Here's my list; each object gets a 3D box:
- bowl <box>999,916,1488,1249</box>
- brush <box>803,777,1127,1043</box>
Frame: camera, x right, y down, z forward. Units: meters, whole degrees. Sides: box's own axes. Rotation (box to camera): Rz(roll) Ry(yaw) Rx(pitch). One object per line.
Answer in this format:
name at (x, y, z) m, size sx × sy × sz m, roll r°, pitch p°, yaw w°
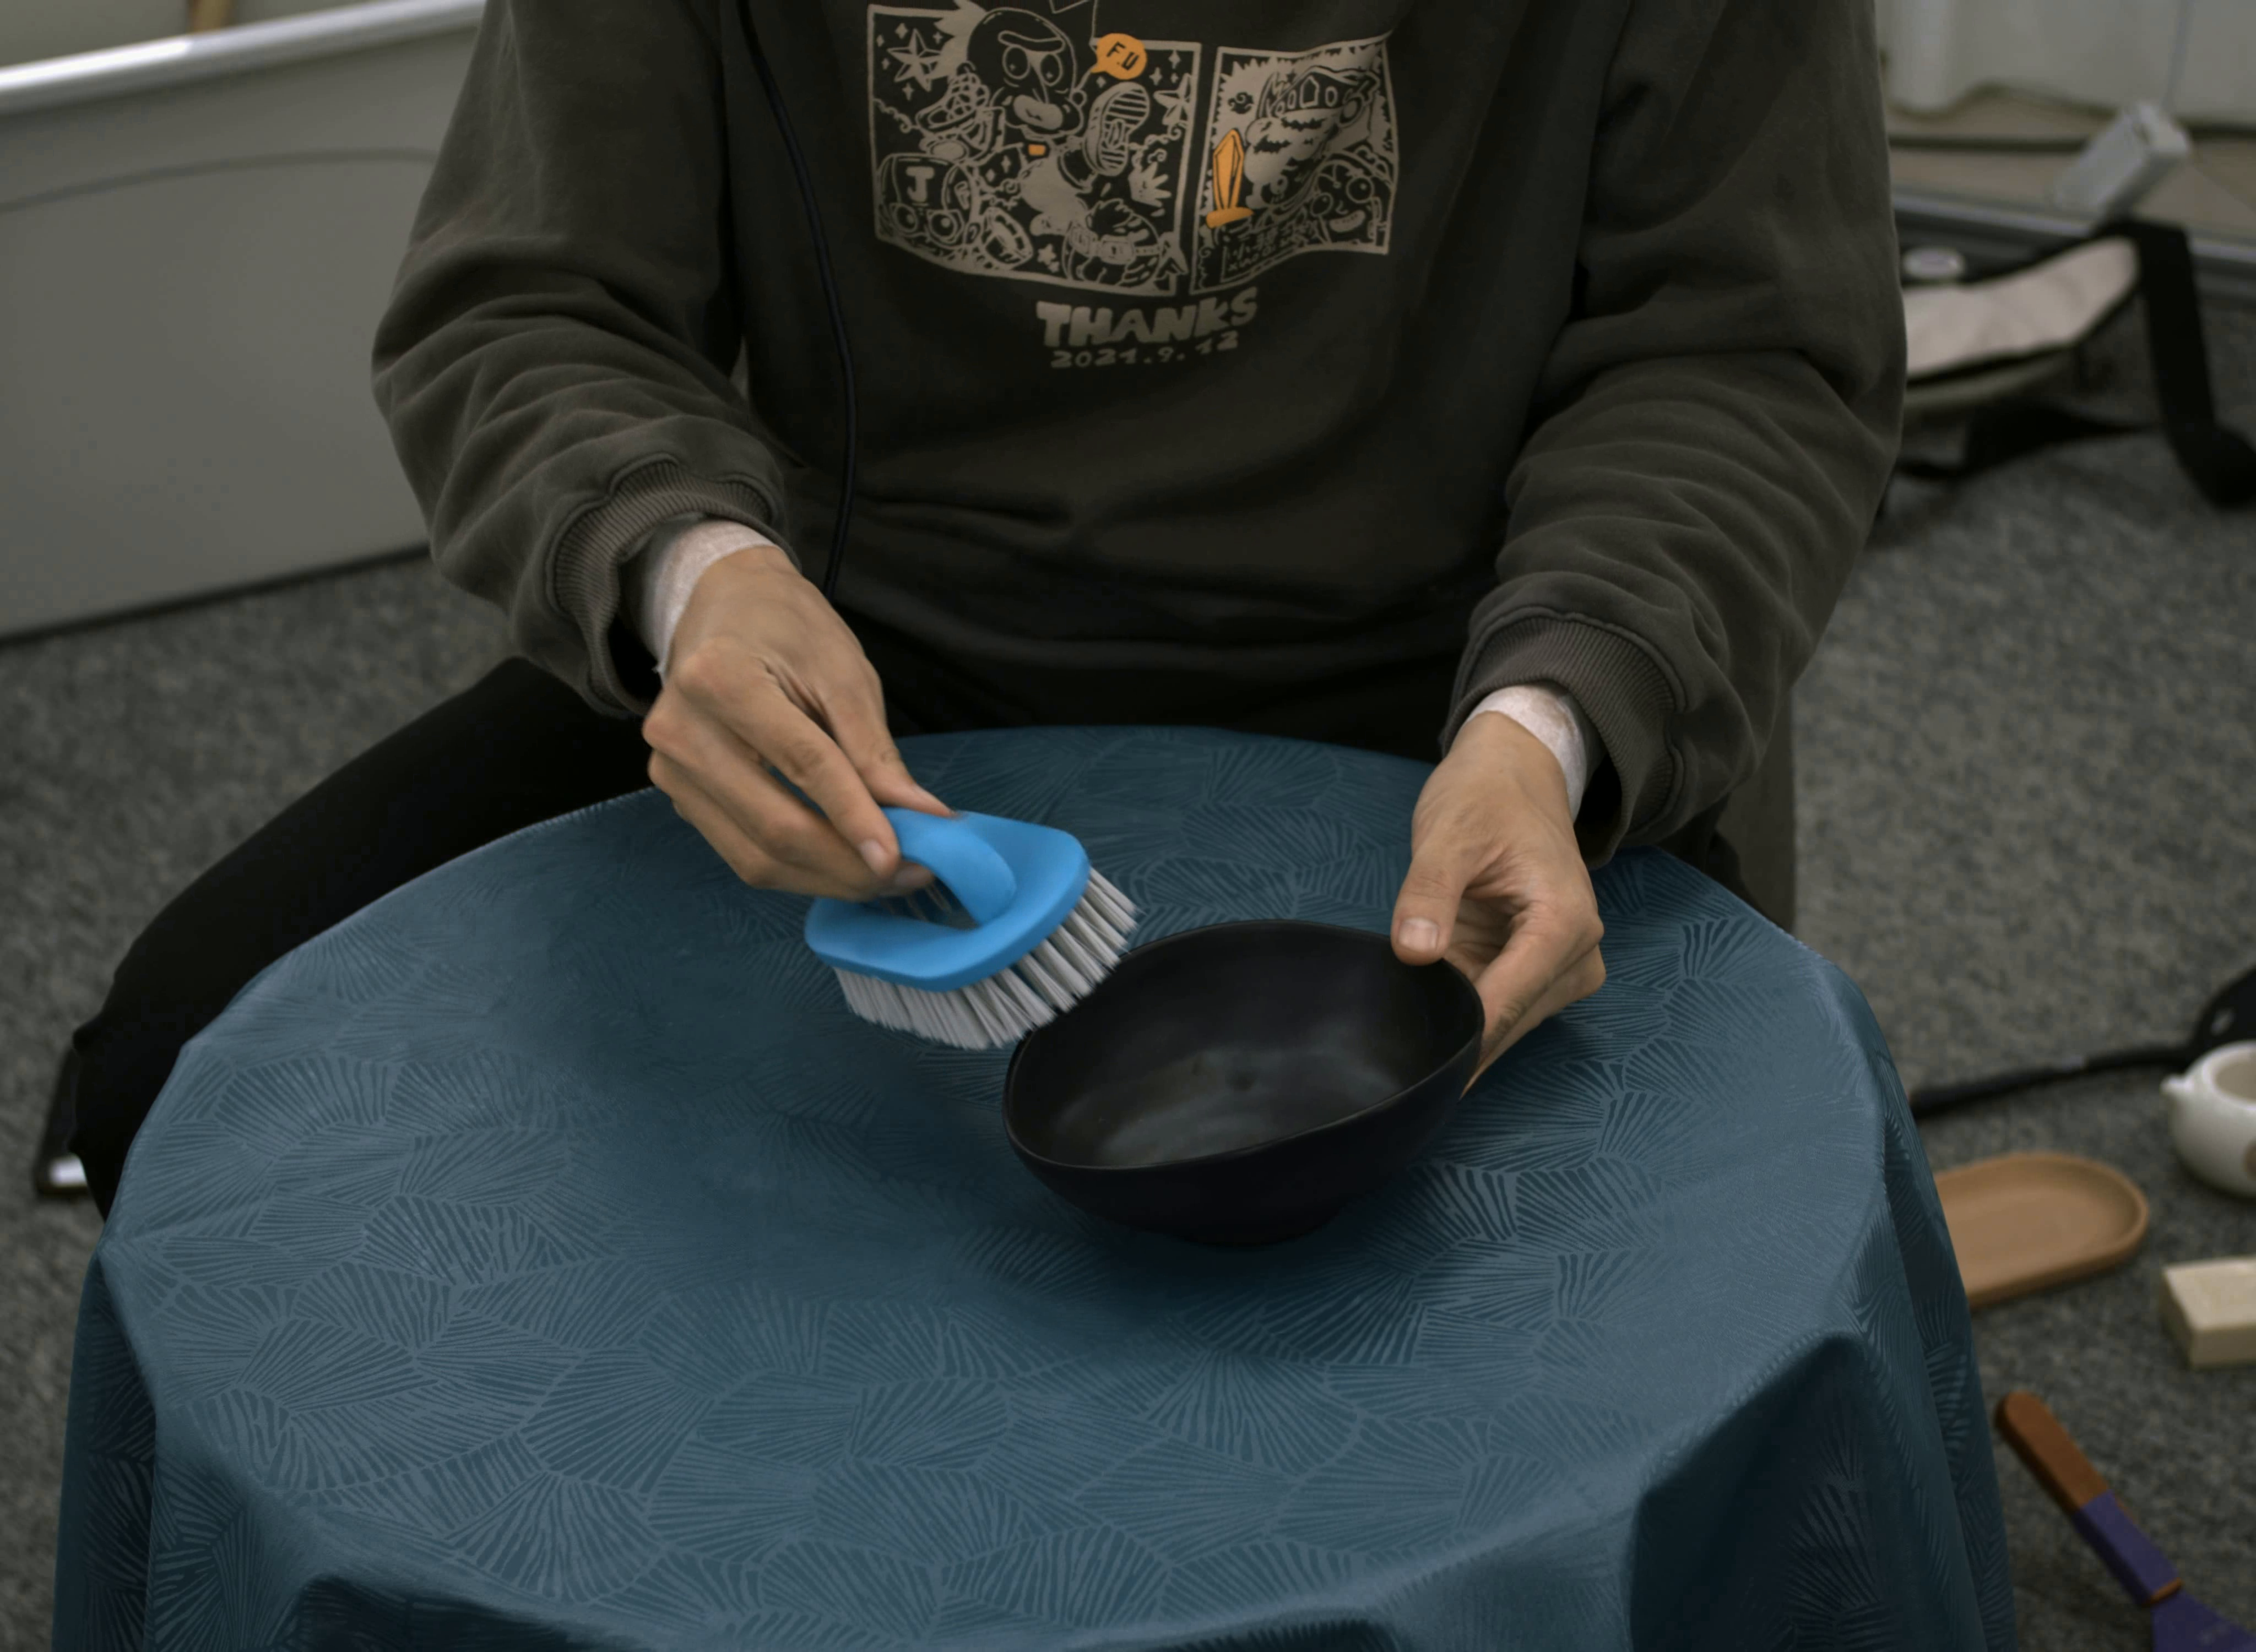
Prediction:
bowl at (0.040, 0.094, 1.841) m, size 0.172 × 0.066 × 0.137 m, roll -22°, pitch 32°, yaw -29°
brush at (-0.064, 0.016, 1.869) m, size 0.085 × 0.063 × 0.141 m, roll -47°, pitch 26°, yaw -16°
